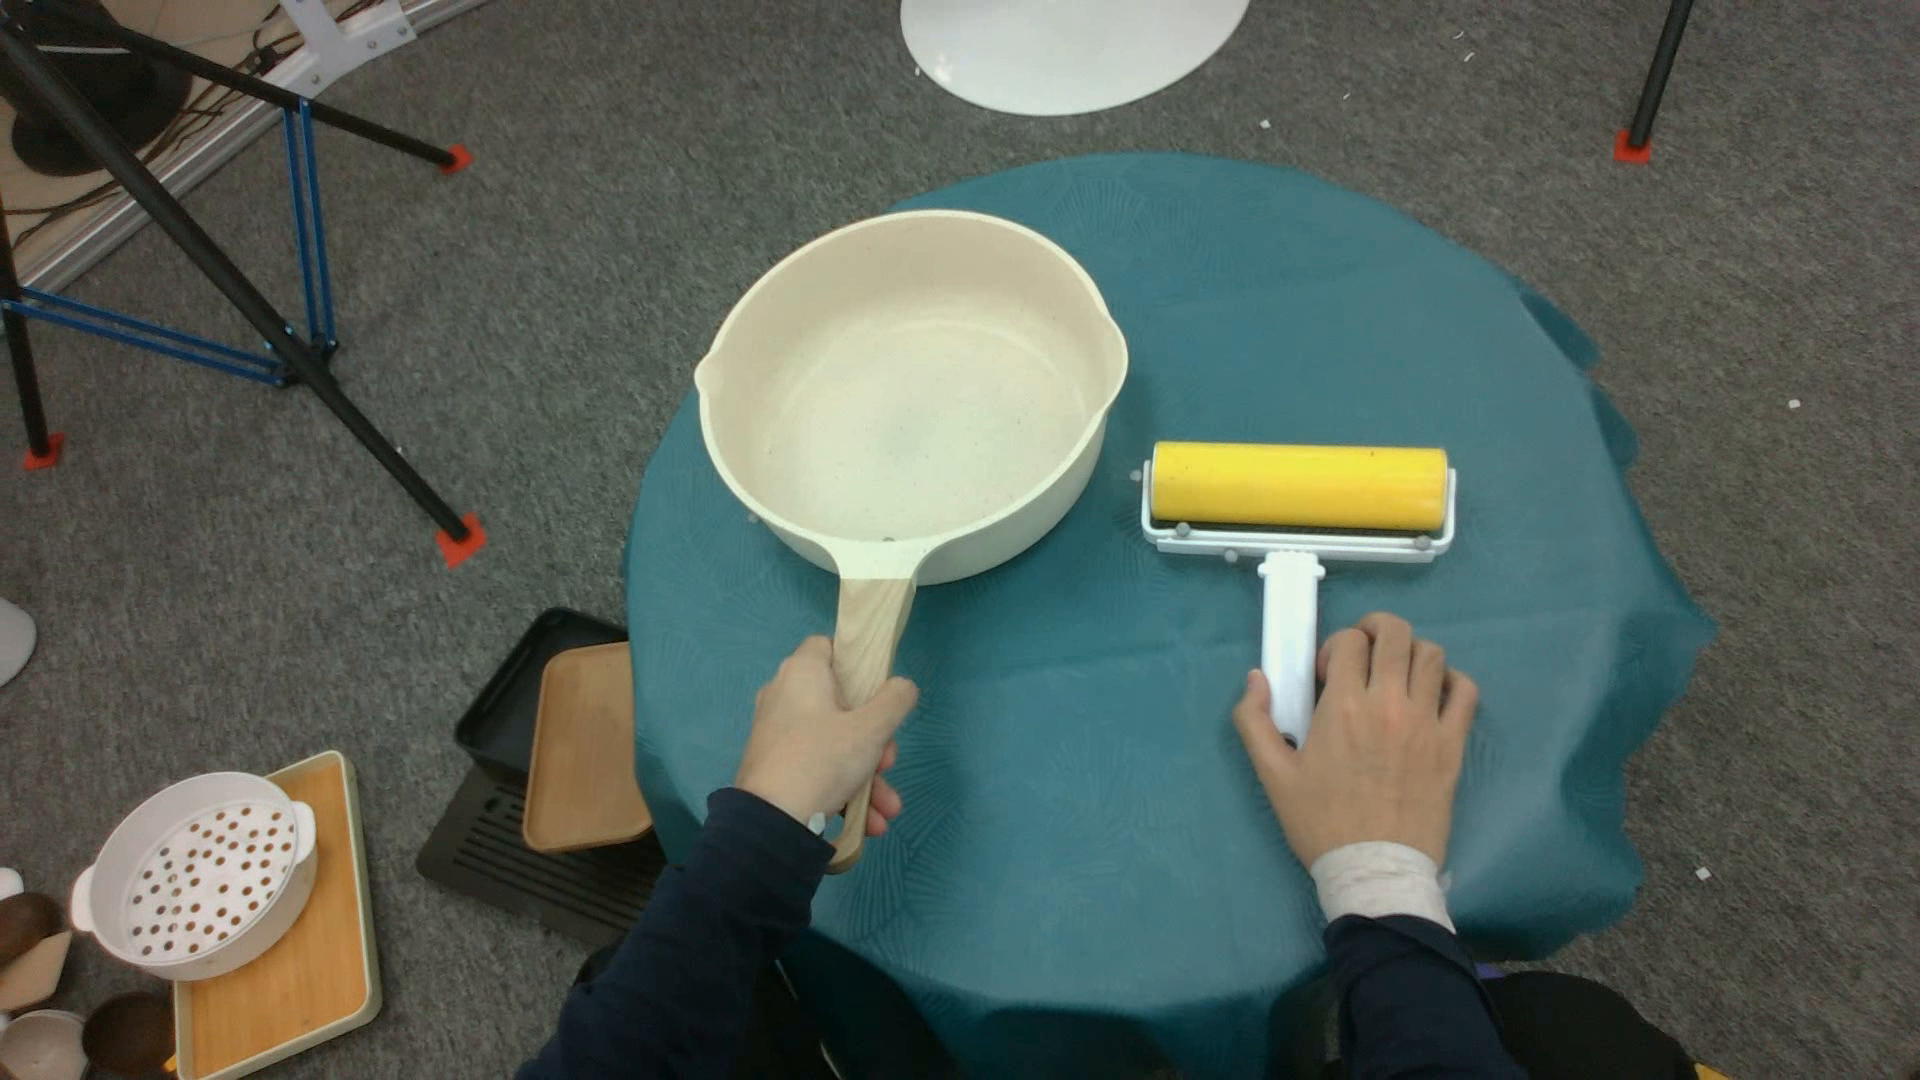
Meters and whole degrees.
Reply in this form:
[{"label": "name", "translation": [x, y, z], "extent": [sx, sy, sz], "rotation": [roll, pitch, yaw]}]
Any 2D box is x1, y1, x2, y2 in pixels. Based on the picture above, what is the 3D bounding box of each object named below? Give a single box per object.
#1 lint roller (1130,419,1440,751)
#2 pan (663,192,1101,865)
[{"label": "lint roller", "translation": [0.178, 0.019, 0.766], "extent": [0.174, 0.051, 0.193], "rotation": [2, 61, 11]}, {"label": "pan", "translation": [-0.050, -0.016, 0.796], "extent": [0.263, 0.101, 0.436], "rotation": [0, 60, 7]}]
